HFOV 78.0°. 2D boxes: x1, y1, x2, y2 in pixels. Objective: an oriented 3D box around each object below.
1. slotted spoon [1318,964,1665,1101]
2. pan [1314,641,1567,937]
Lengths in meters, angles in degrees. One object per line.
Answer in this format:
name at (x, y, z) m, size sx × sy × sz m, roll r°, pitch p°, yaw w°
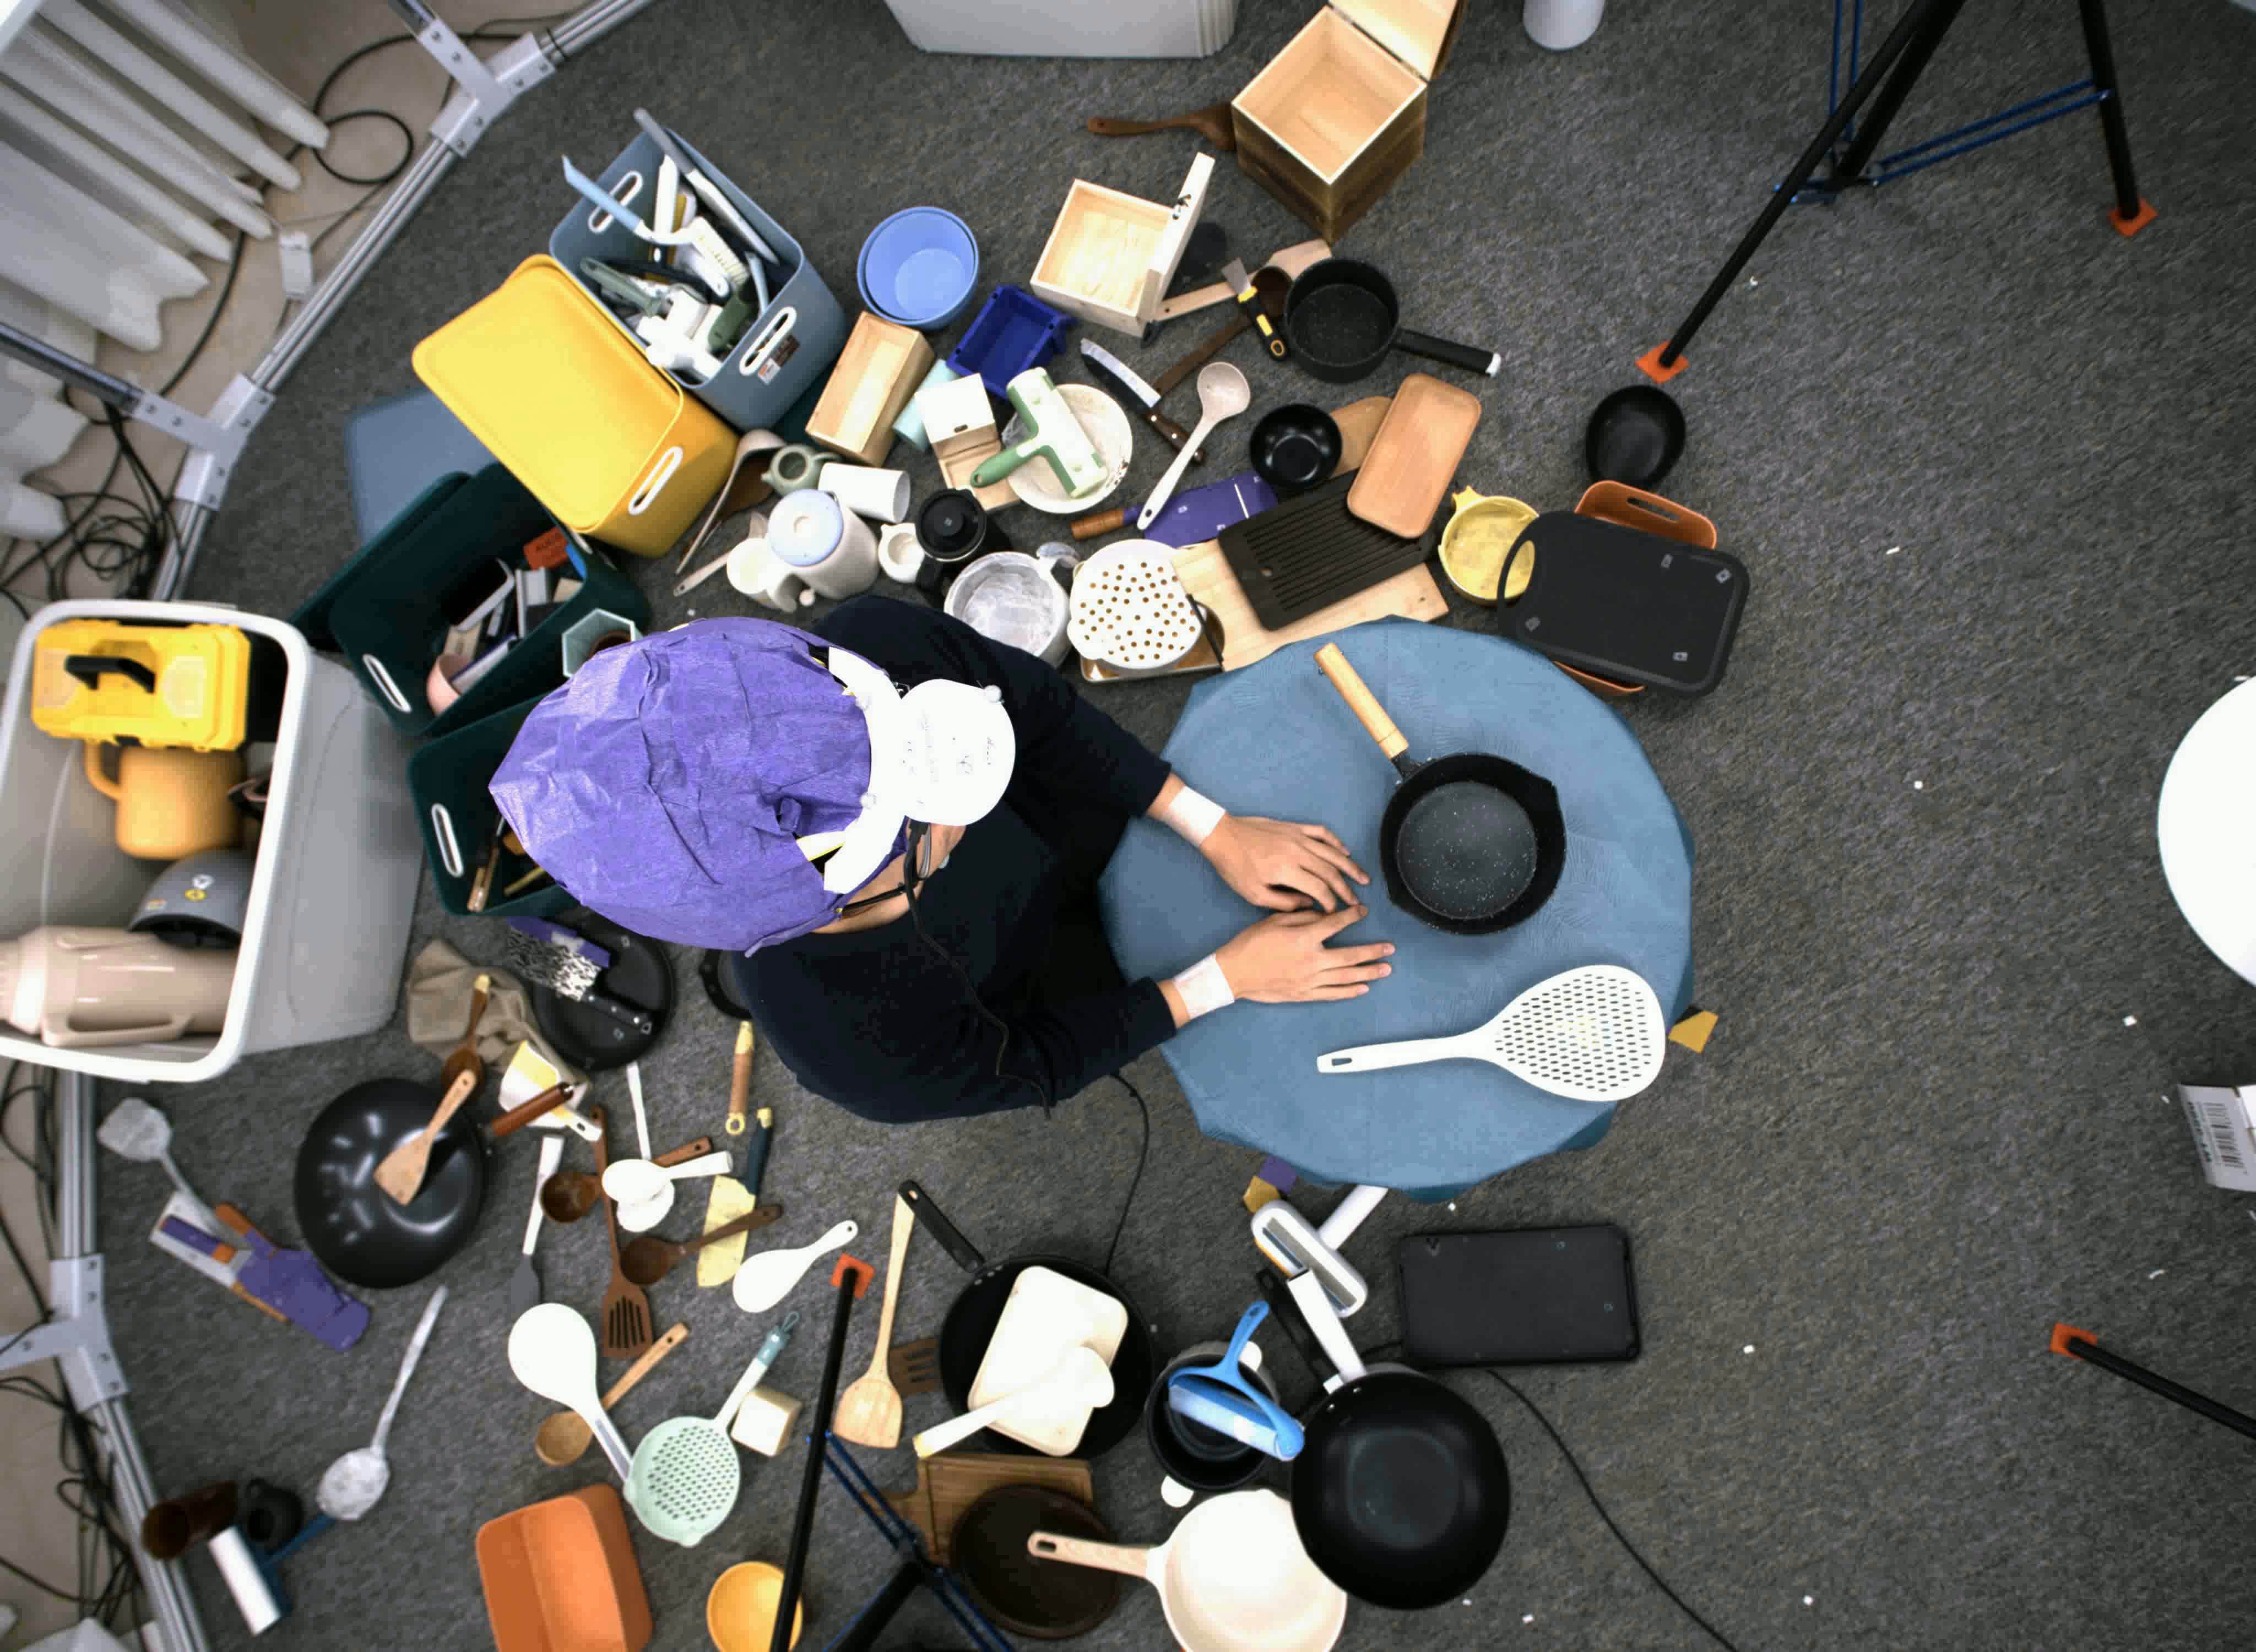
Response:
slotted spoon at (0.366, 0.223, 1.412) m, size 0.349 × 0.050 × 0.136 m, roll -9°, pitch 87°, yaw 9°
pan at (0.299, -0.043, 1.406) m, size 0.208 × 0.108 × 0.341 m, roll -38°, pitch 82°, yaw 7°
